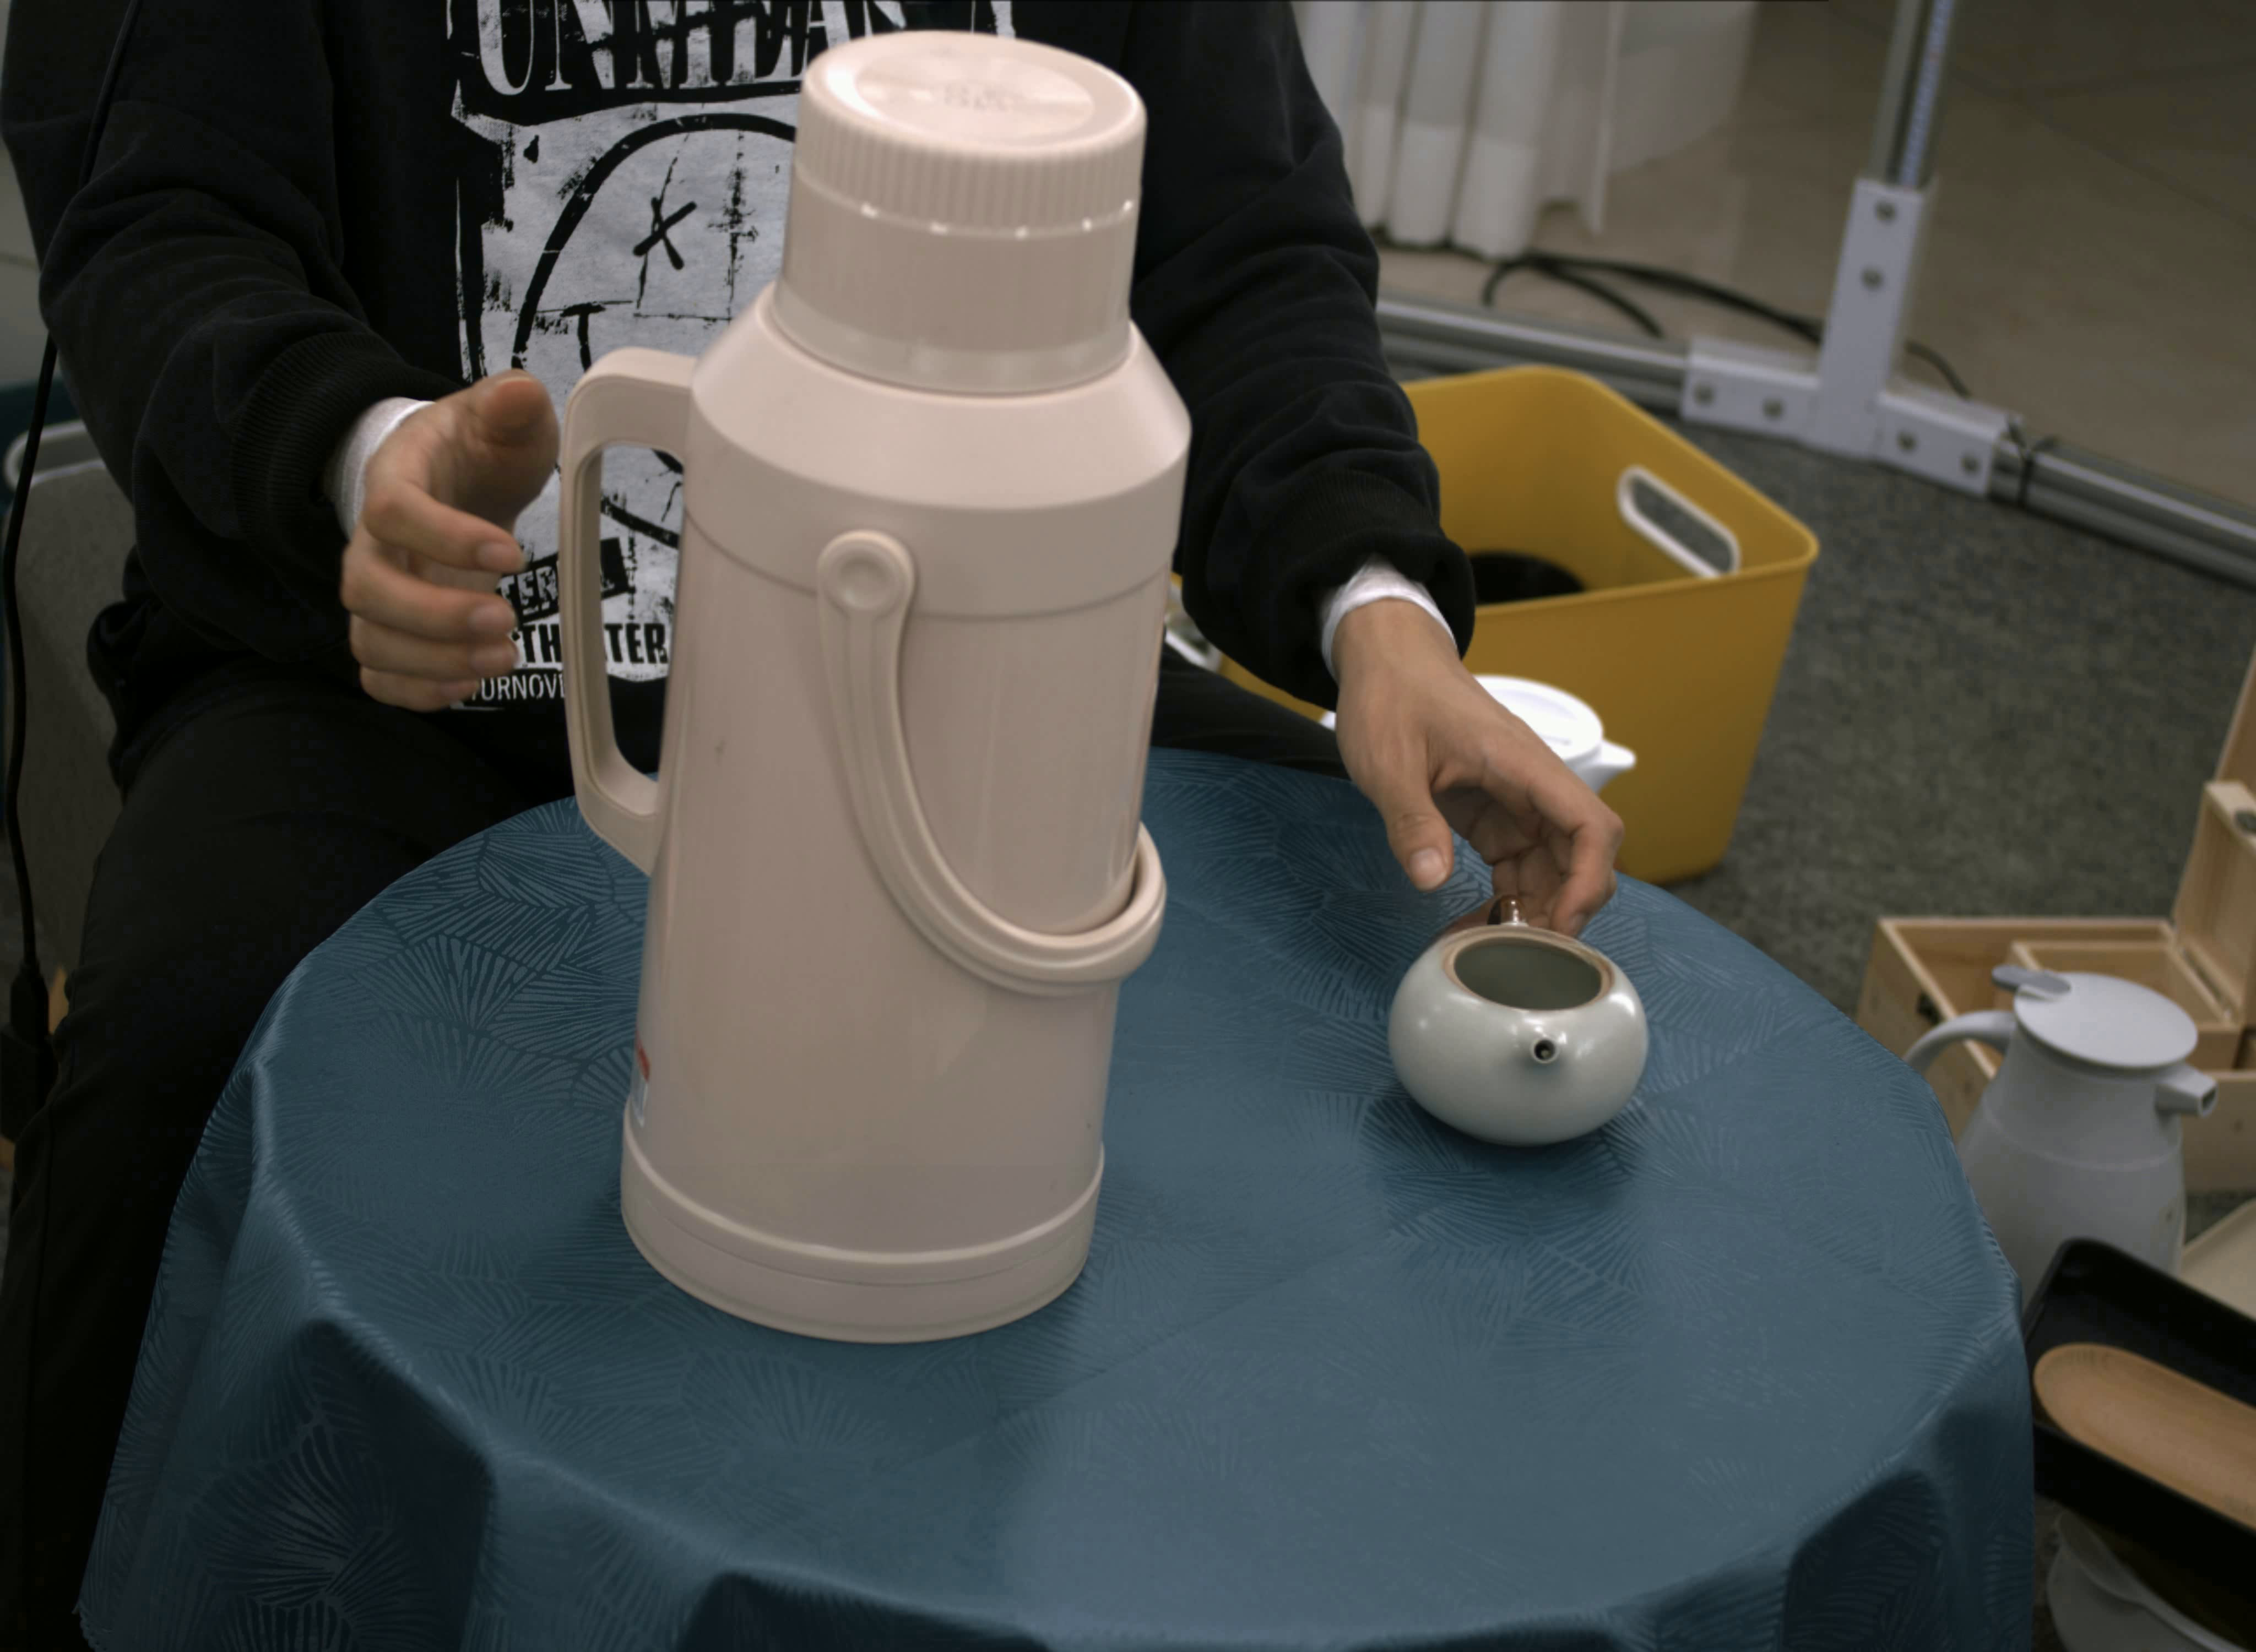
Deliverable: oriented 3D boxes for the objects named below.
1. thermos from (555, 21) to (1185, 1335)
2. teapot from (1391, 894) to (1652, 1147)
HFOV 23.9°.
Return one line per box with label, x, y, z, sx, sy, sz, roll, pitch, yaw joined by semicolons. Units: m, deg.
thermos;-0.084;-0.050;1.691;0.207;0.405;0.176;11;28;7
teapot;0.137;0.070;1.877;0.091;0.059;0.129;0;28;-5
